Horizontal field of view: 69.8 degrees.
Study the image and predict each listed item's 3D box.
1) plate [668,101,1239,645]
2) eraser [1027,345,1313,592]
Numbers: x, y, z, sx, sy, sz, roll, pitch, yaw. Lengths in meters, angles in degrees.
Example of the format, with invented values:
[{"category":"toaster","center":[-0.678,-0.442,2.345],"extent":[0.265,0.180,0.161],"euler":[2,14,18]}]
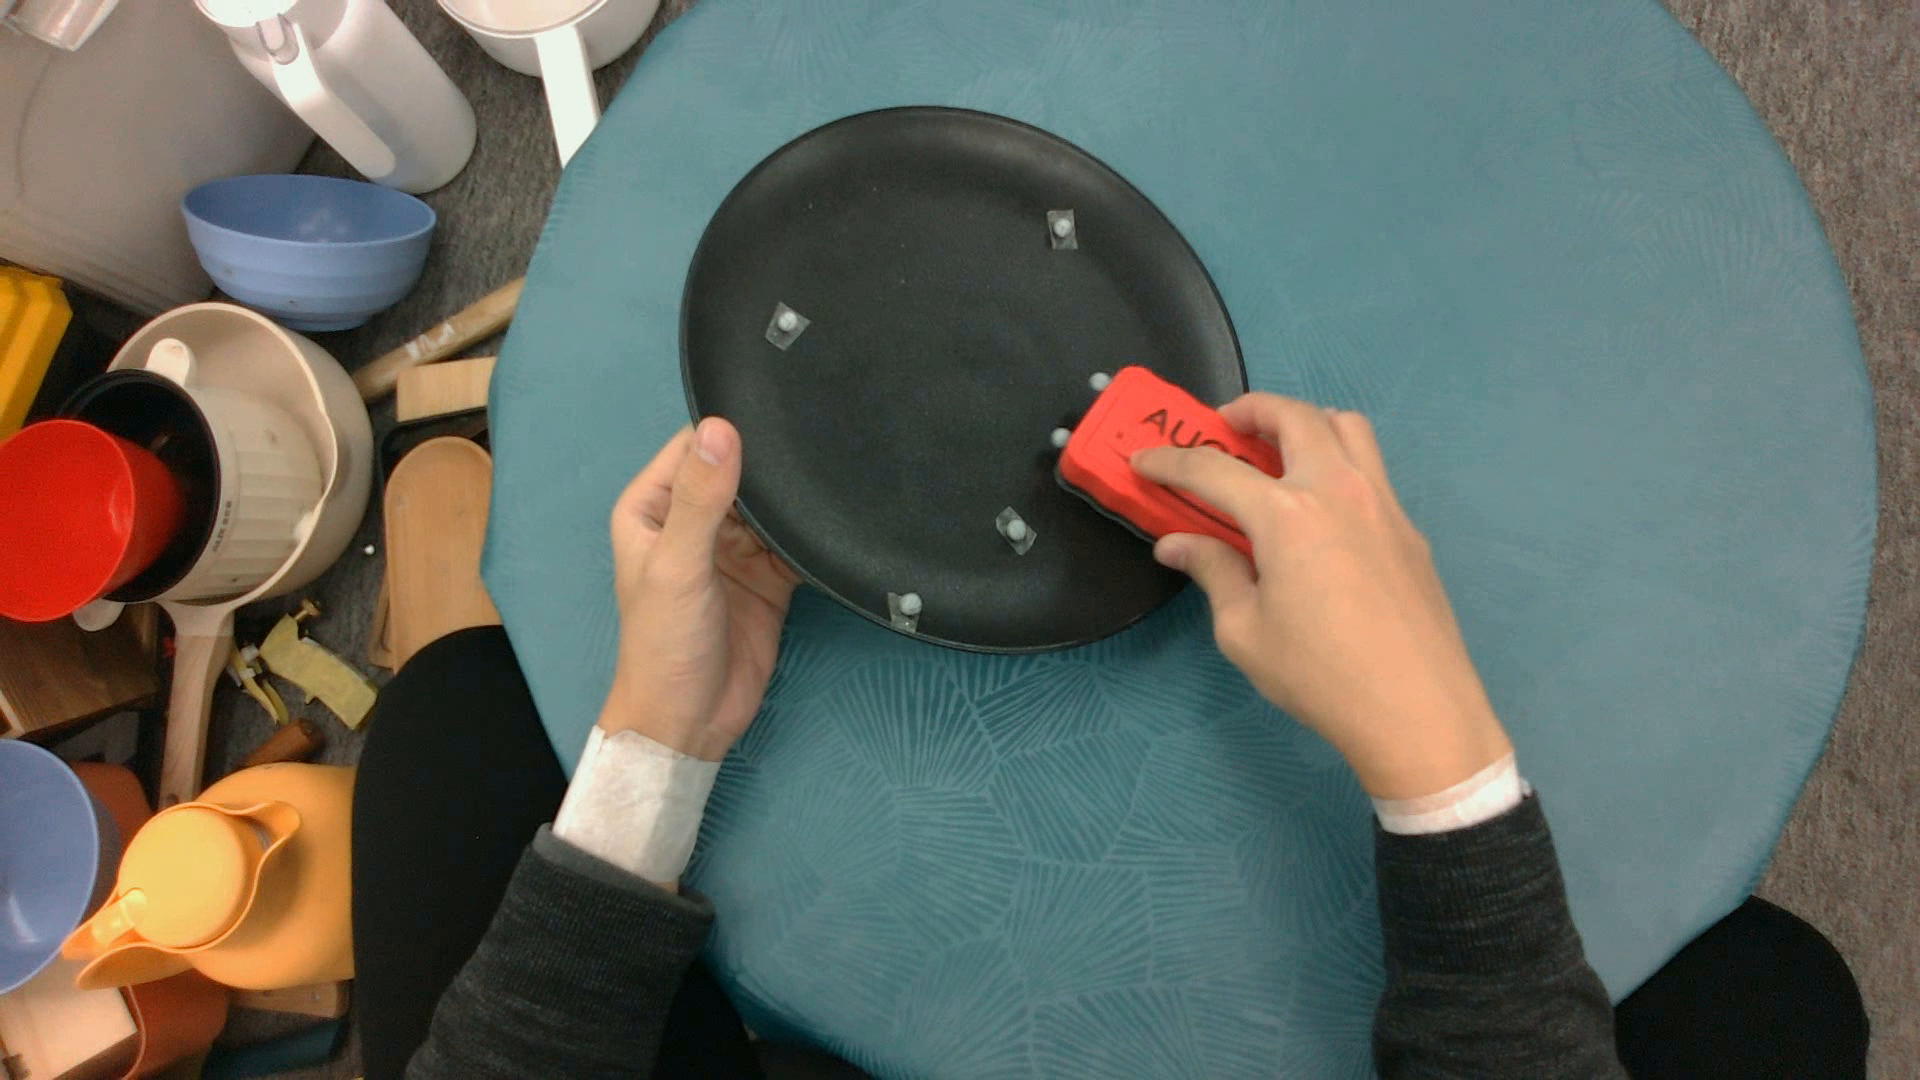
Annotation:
[{"category":"plate","center":[0.002,-0.072,0.568],"extent":[0.245,0.023,0.245],"euler":[6,69,-17]},{"category":"eraser","center":[0.085,-0.029,0.561],"extent":[0.108,0.023,0.059],"euler":[34,71,2]}]
